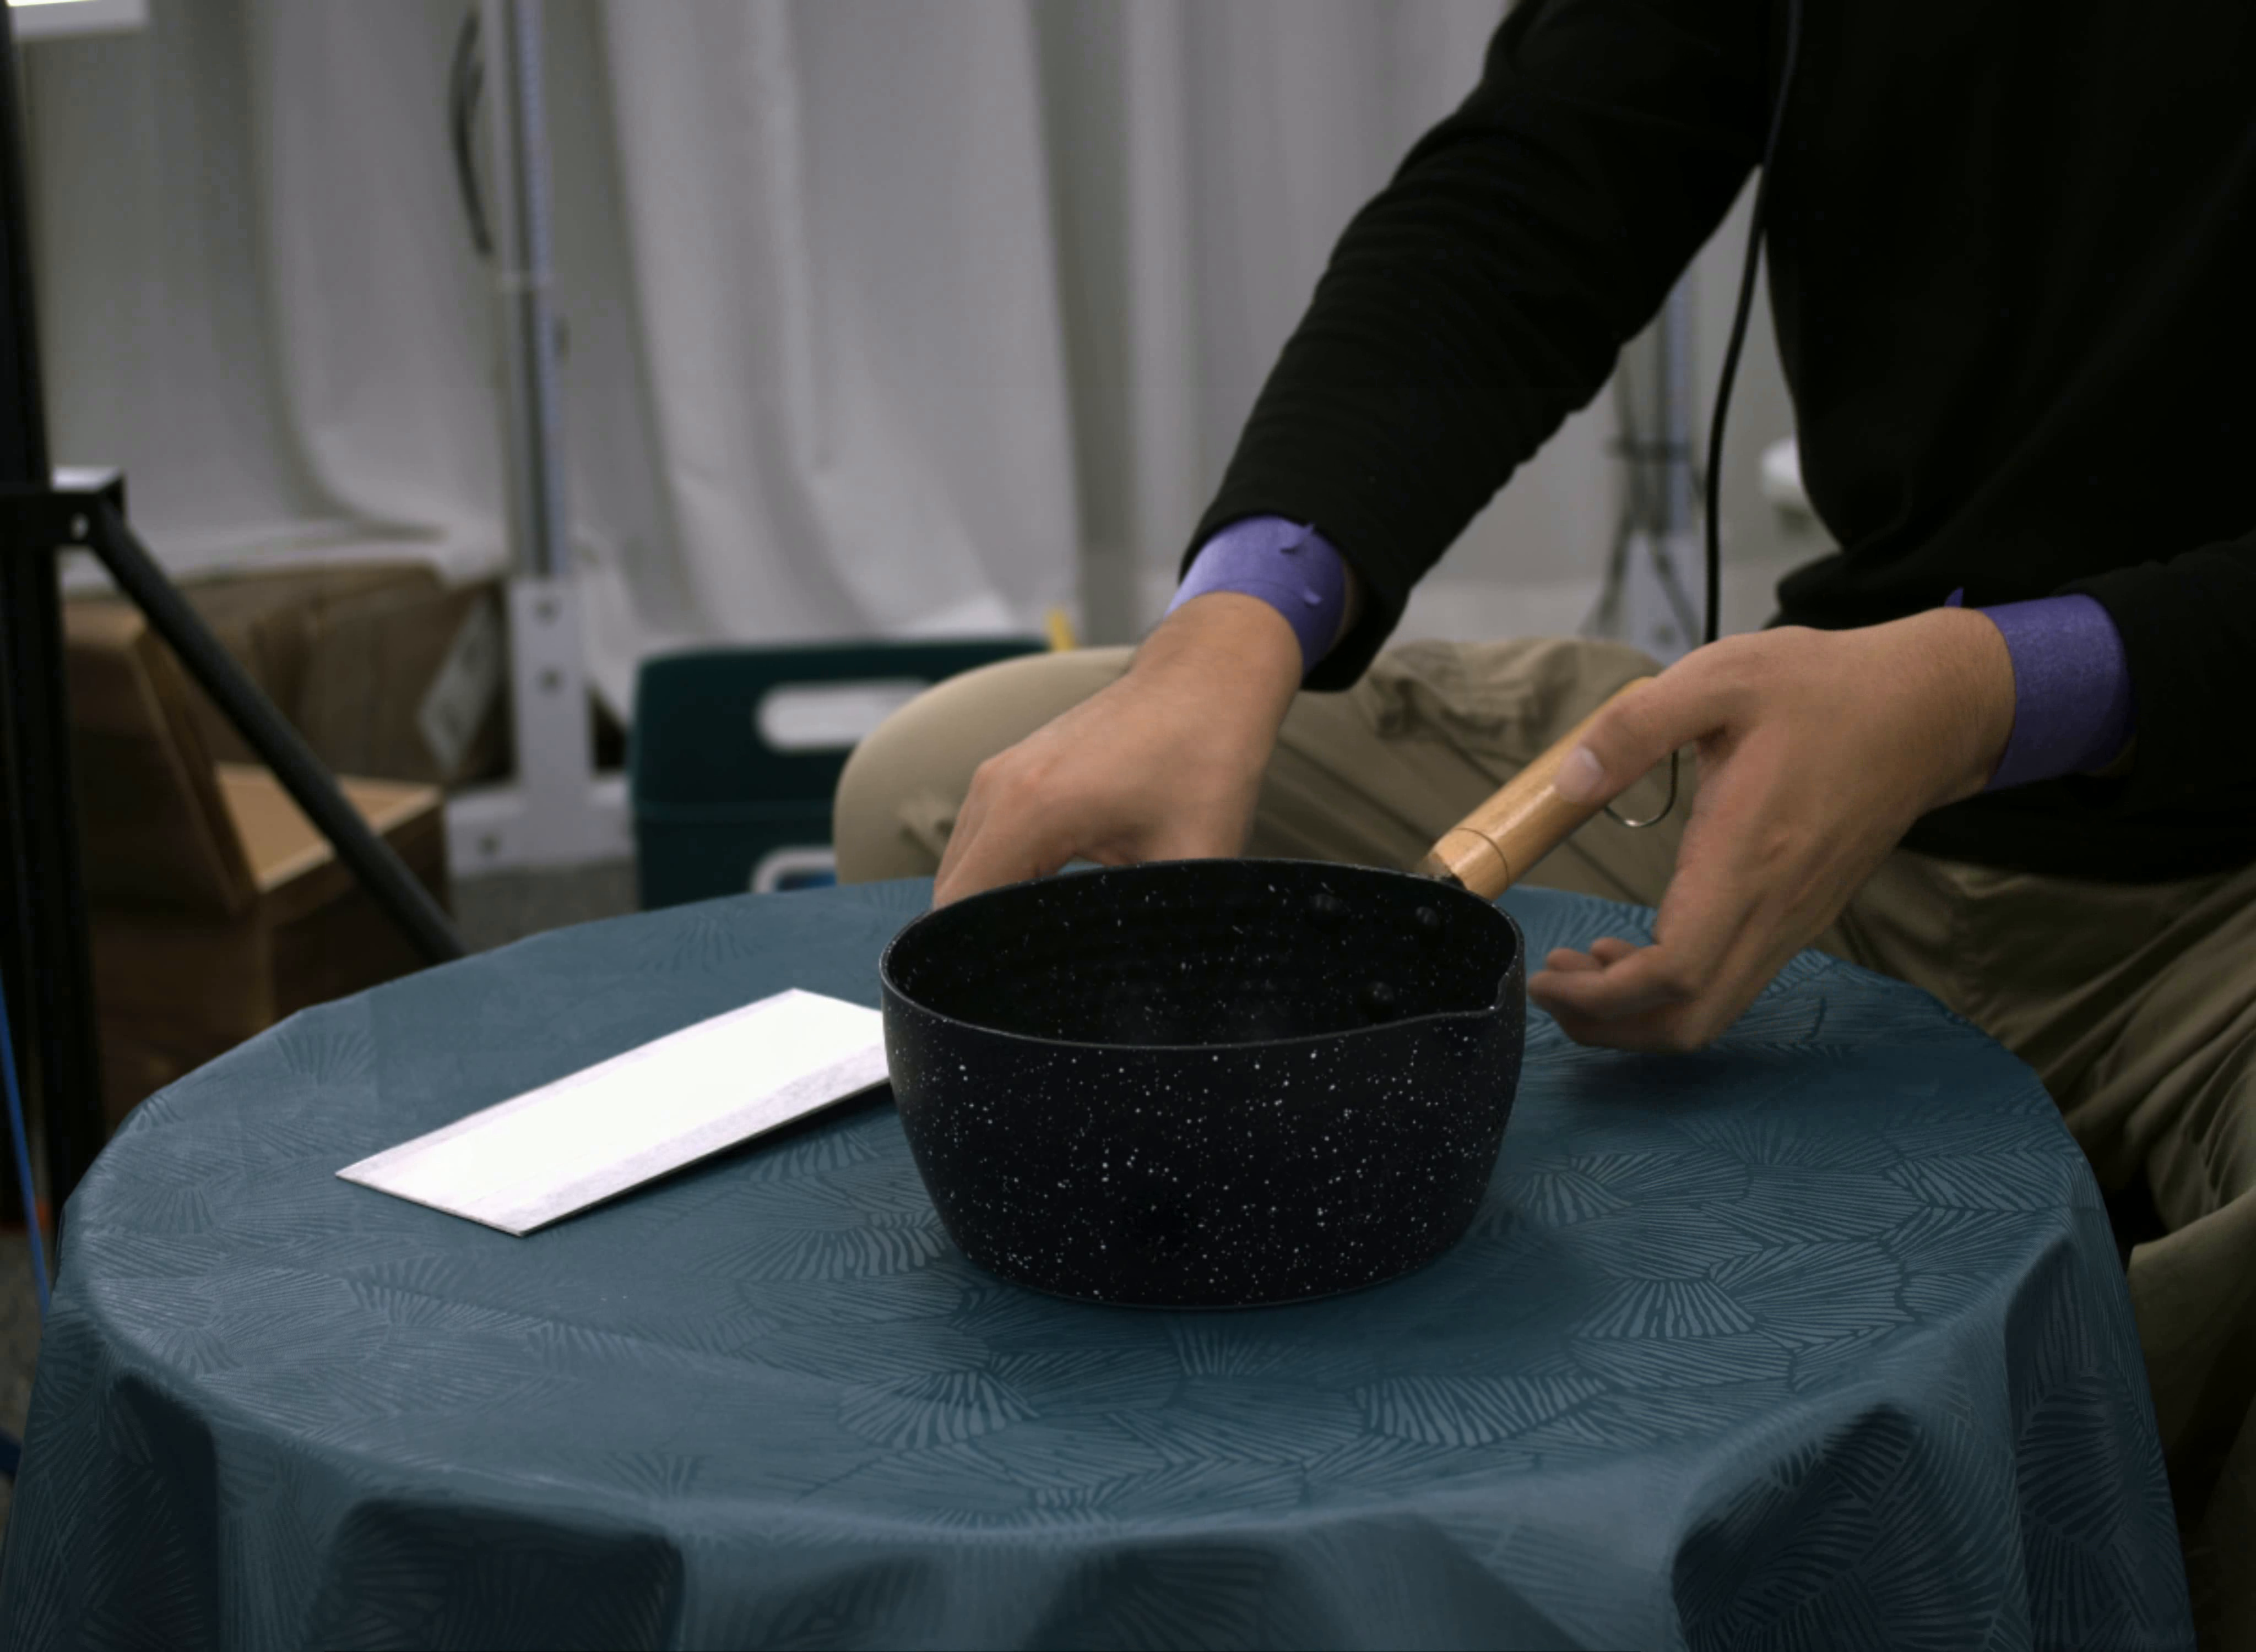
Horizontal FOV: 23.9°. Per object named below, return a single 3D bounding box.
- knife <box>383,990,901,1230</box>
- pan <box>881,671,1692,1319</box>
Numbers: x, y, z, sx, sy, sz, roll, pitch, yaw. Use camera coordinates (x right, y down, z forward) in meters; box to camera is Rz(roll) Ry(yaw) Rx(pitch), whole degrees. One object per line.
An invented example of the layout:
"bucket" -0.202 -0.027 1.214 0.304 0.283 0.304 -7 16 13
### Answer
"knife" -0.101 0.071 1.669 0.299 0.021 0.095 -21 23 -41
"pan" 0.069 0.045 1.572 0.212 0.108 0.336 9 20 36
